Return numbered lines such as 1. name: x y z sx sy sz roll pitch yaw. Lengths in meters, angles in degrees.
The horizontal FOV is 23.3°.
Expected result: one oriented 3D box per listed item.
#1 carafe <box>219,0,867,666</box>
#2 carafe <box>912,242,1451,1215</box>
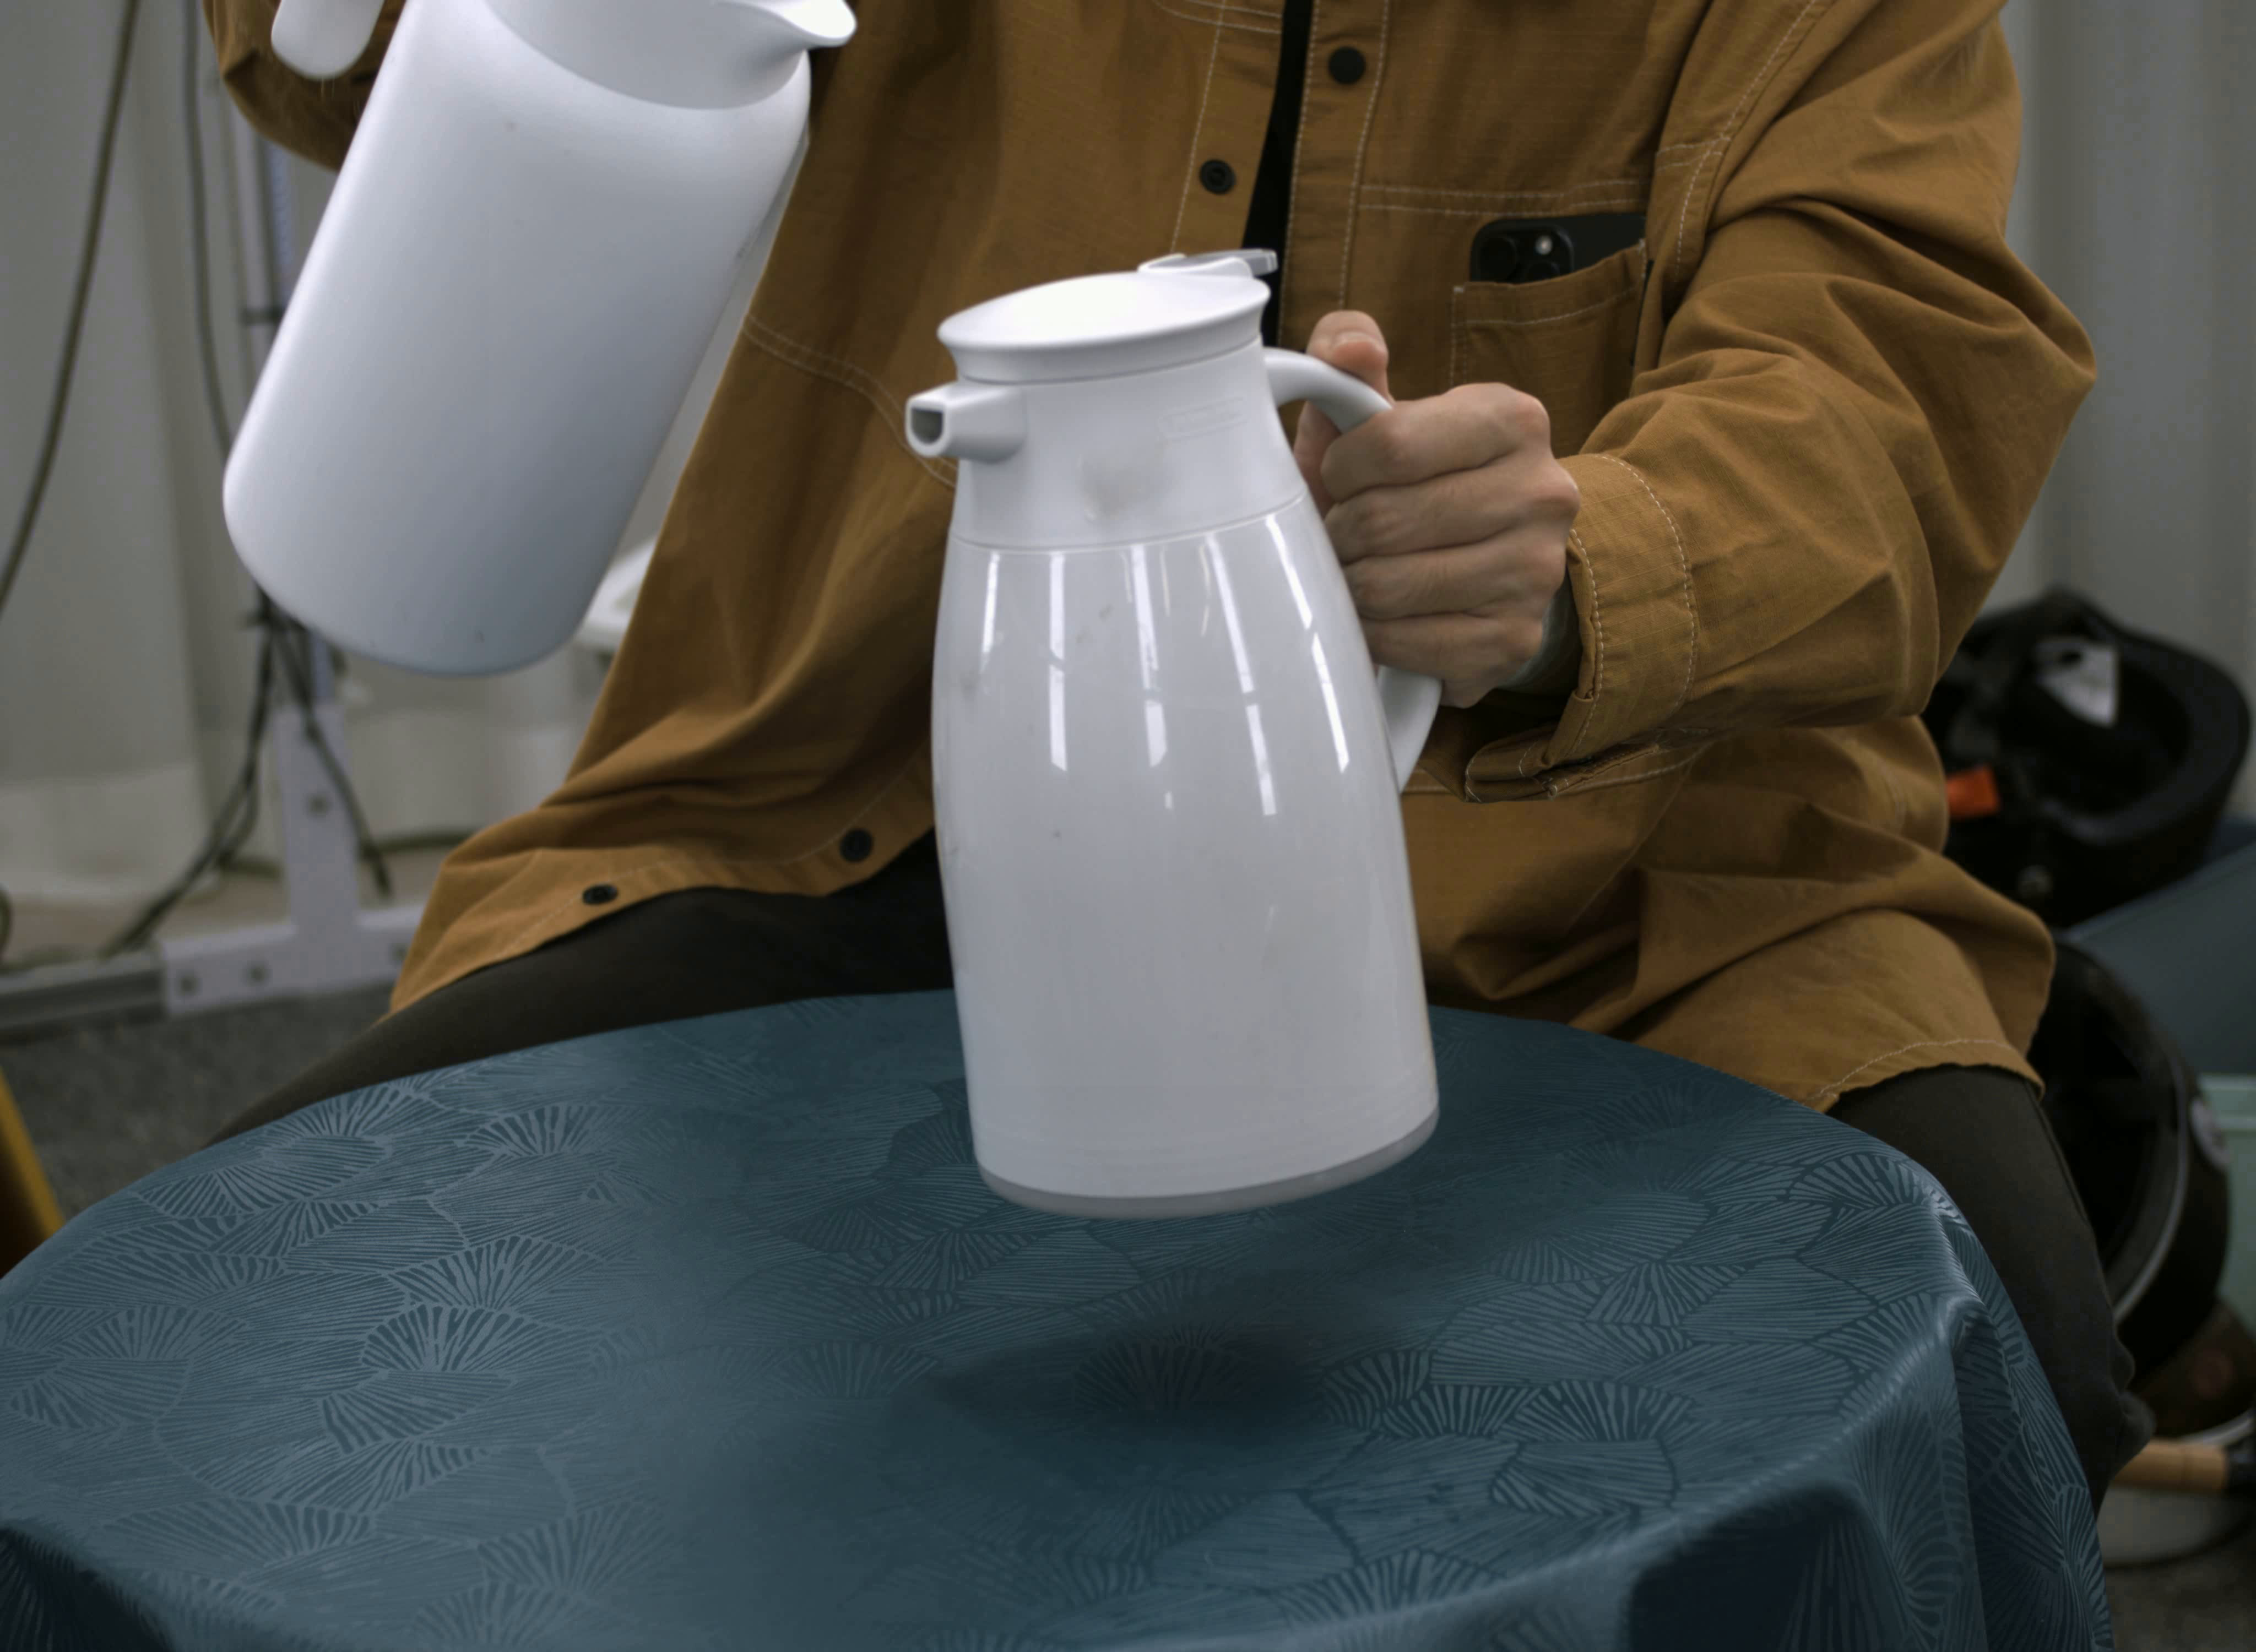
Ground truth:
1. carafe: -0.183 -0.188 1.593 0.174 0.266 0.124 43 41 18
2. carafe: 0.022 -0.035 1.526 0.167 0.248 0.133 -15 15 -35
